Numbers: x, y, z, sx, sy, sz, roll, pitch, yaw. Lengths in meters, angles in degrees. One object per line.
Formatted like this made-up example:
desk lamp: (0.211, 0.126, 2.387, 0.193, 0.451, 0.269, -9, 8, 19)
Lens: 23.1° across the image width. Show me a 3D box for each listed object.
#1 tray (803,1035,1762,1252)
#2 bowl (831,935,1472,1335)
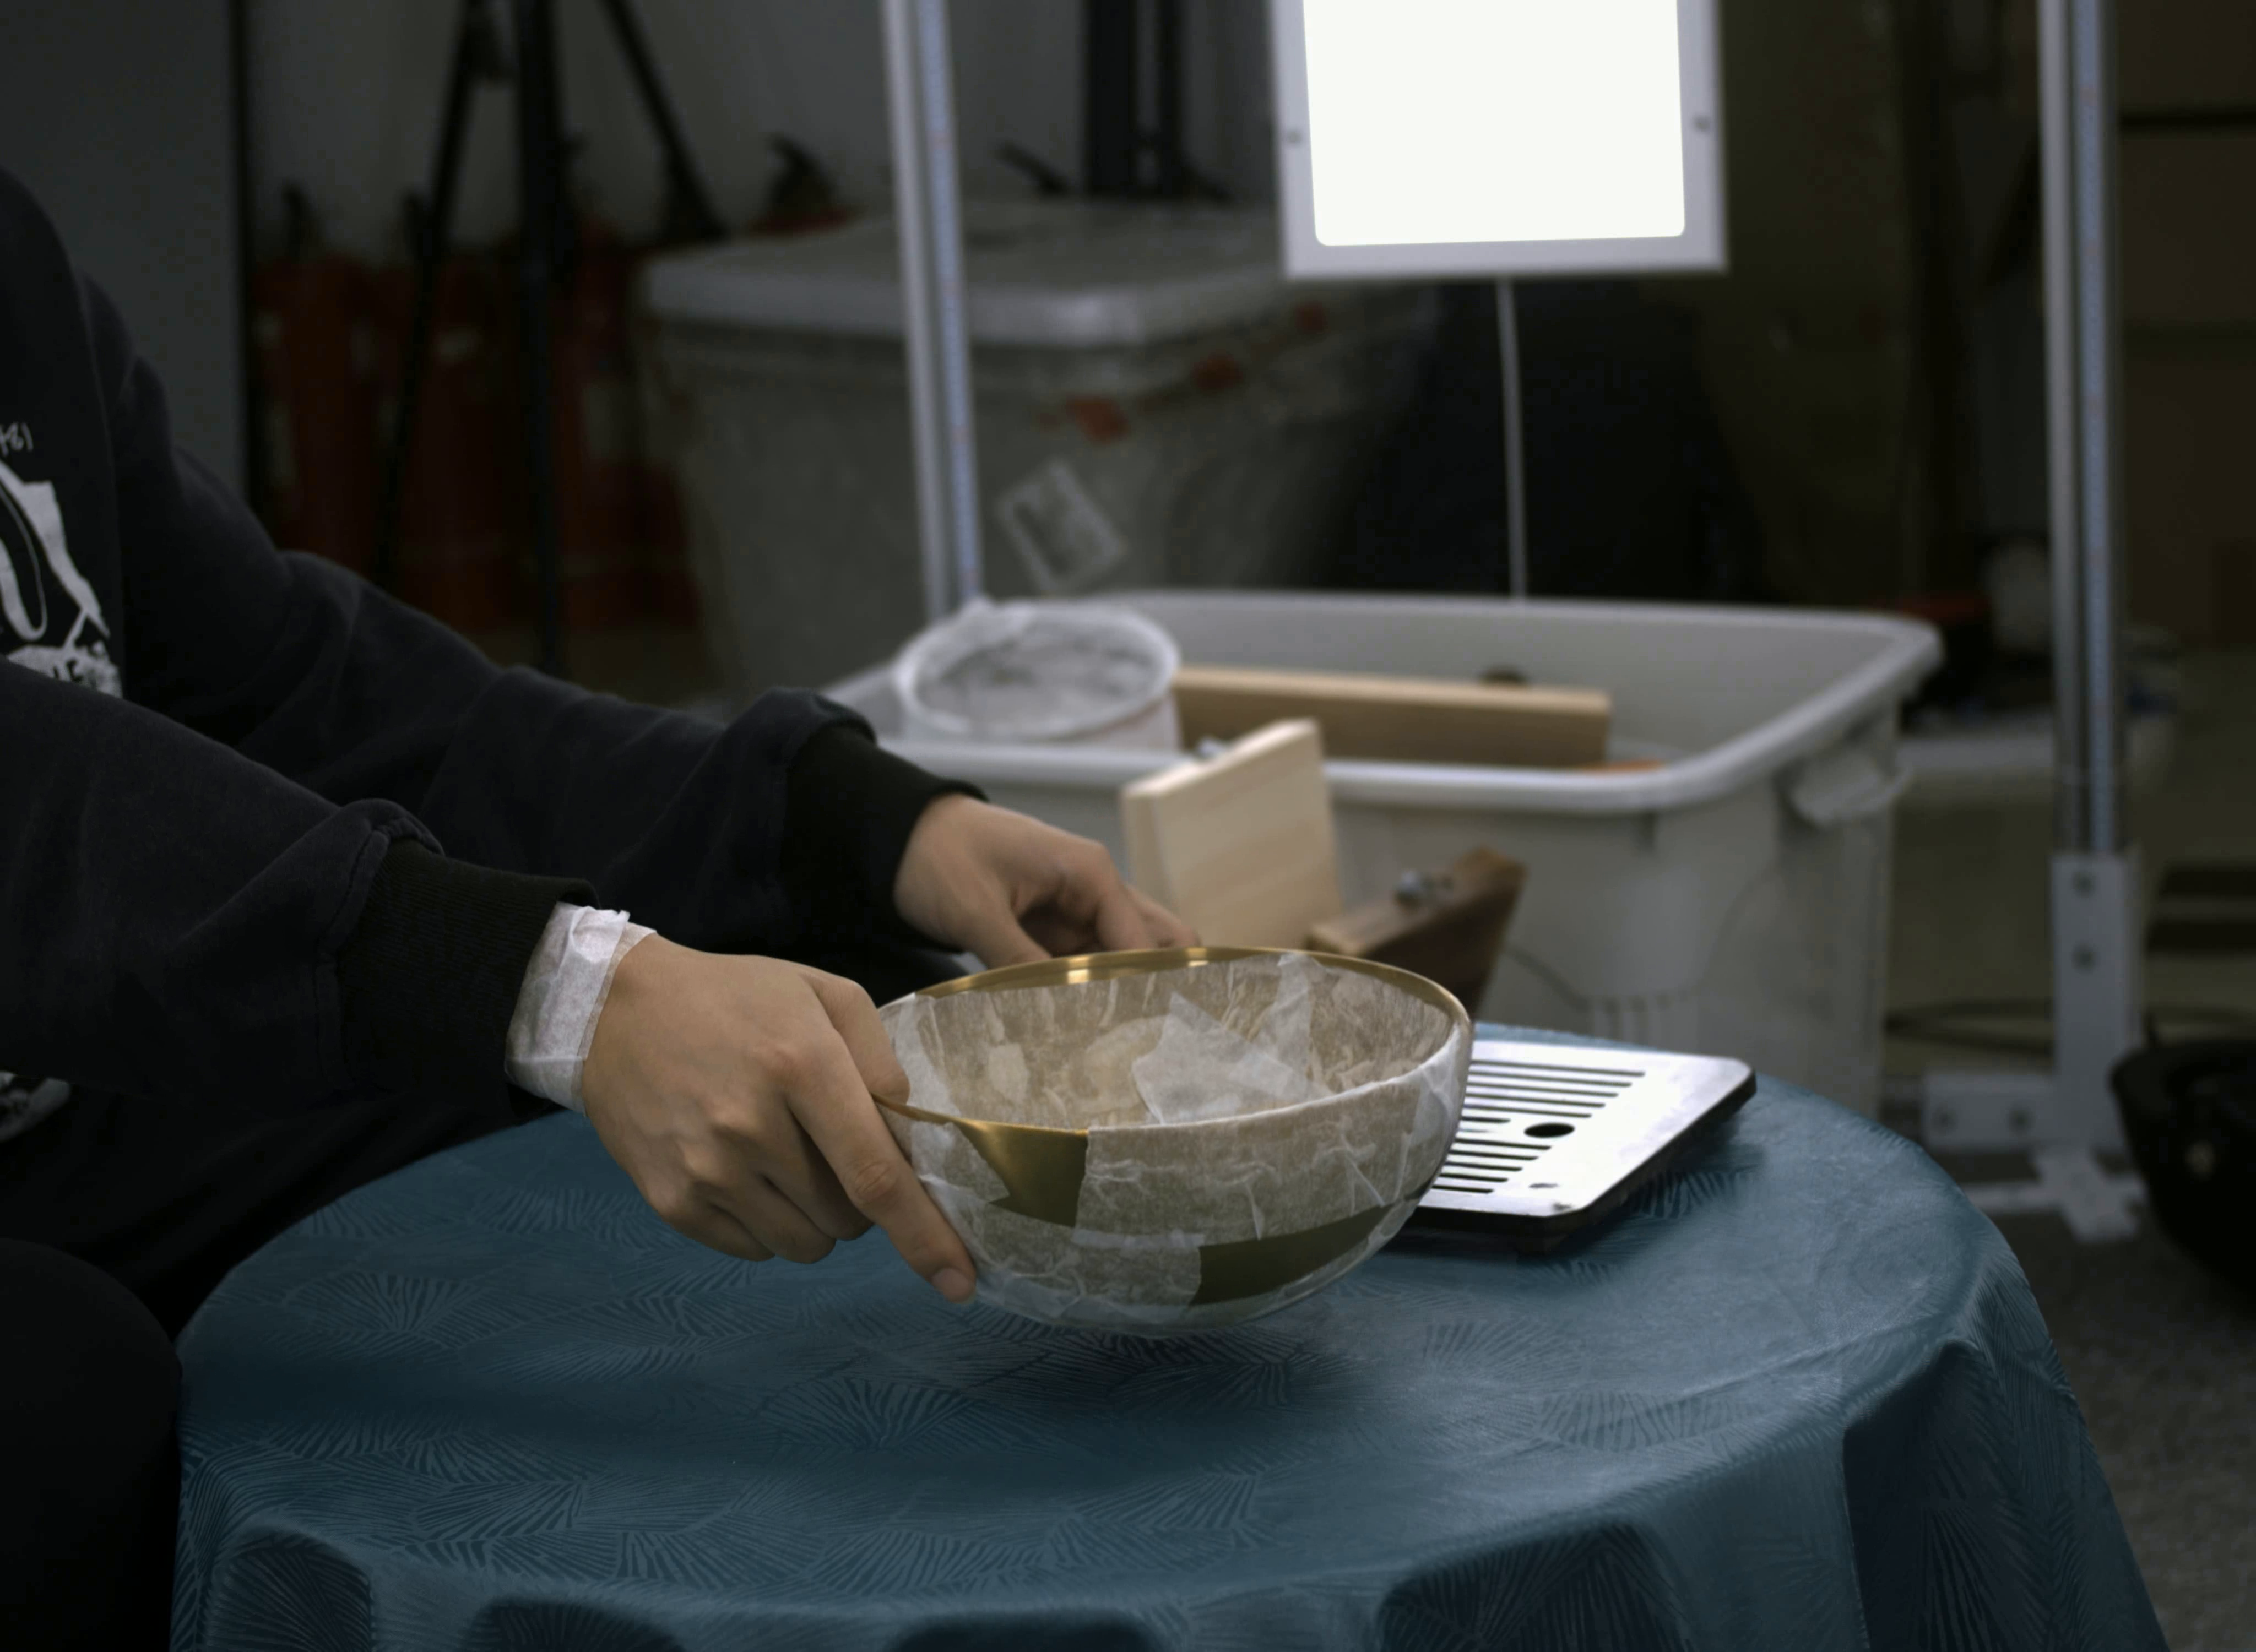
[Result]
tray: (0.054, 0.103, 1.926, 0.312, 0.019, 0.166, 3, 18, 31)
bowl: (0.009, 0.104, 1.736, 0.214, 0.095, 0.214, -5, 15, 0)
